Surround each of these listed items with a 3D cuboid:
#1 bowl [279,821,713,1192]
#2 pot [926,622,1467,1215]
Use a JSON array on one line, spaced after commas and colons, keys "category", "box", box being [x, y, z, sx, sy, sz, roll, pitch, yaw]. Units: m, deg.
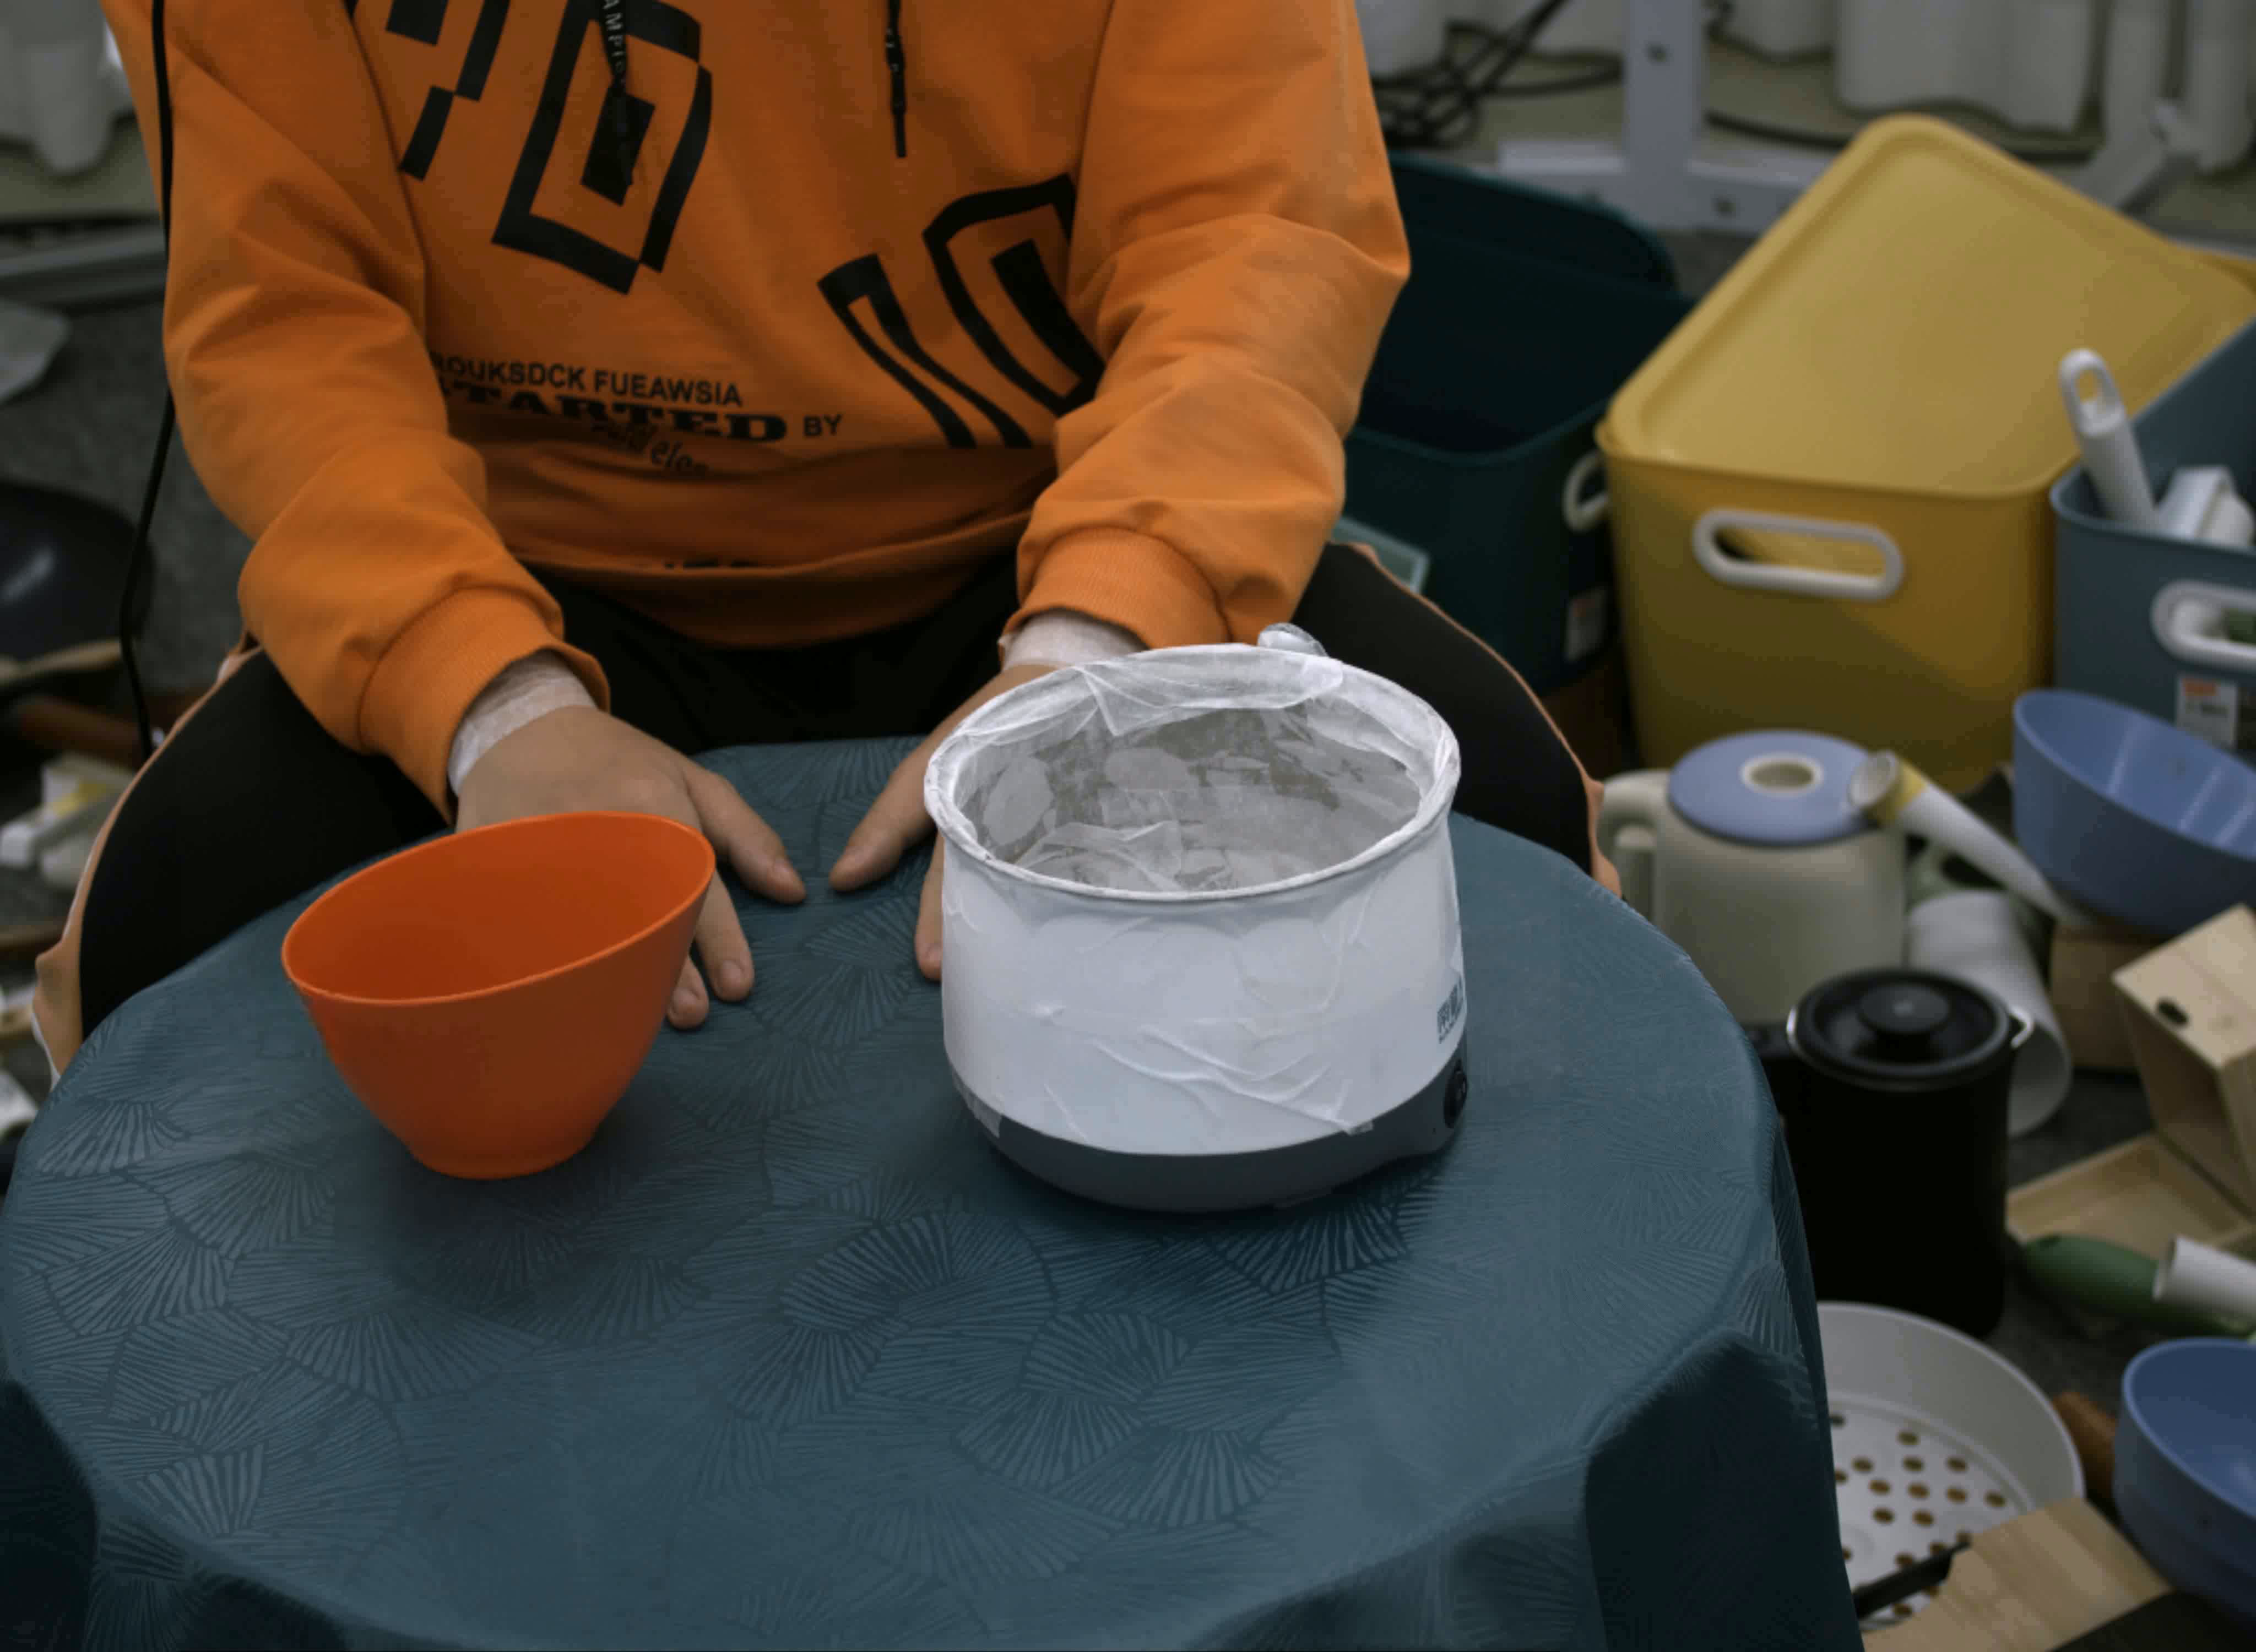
[{"category": "bowl", "box": [-0.208, 0.066, 1.889, 0.147, 0.103, 0.150, -3, 26, 2]}, {"category": "pot", "box": [0.033, 0.024, 1.901, 0.177, 0.135, 0.238, 6, 29, 16]}]
